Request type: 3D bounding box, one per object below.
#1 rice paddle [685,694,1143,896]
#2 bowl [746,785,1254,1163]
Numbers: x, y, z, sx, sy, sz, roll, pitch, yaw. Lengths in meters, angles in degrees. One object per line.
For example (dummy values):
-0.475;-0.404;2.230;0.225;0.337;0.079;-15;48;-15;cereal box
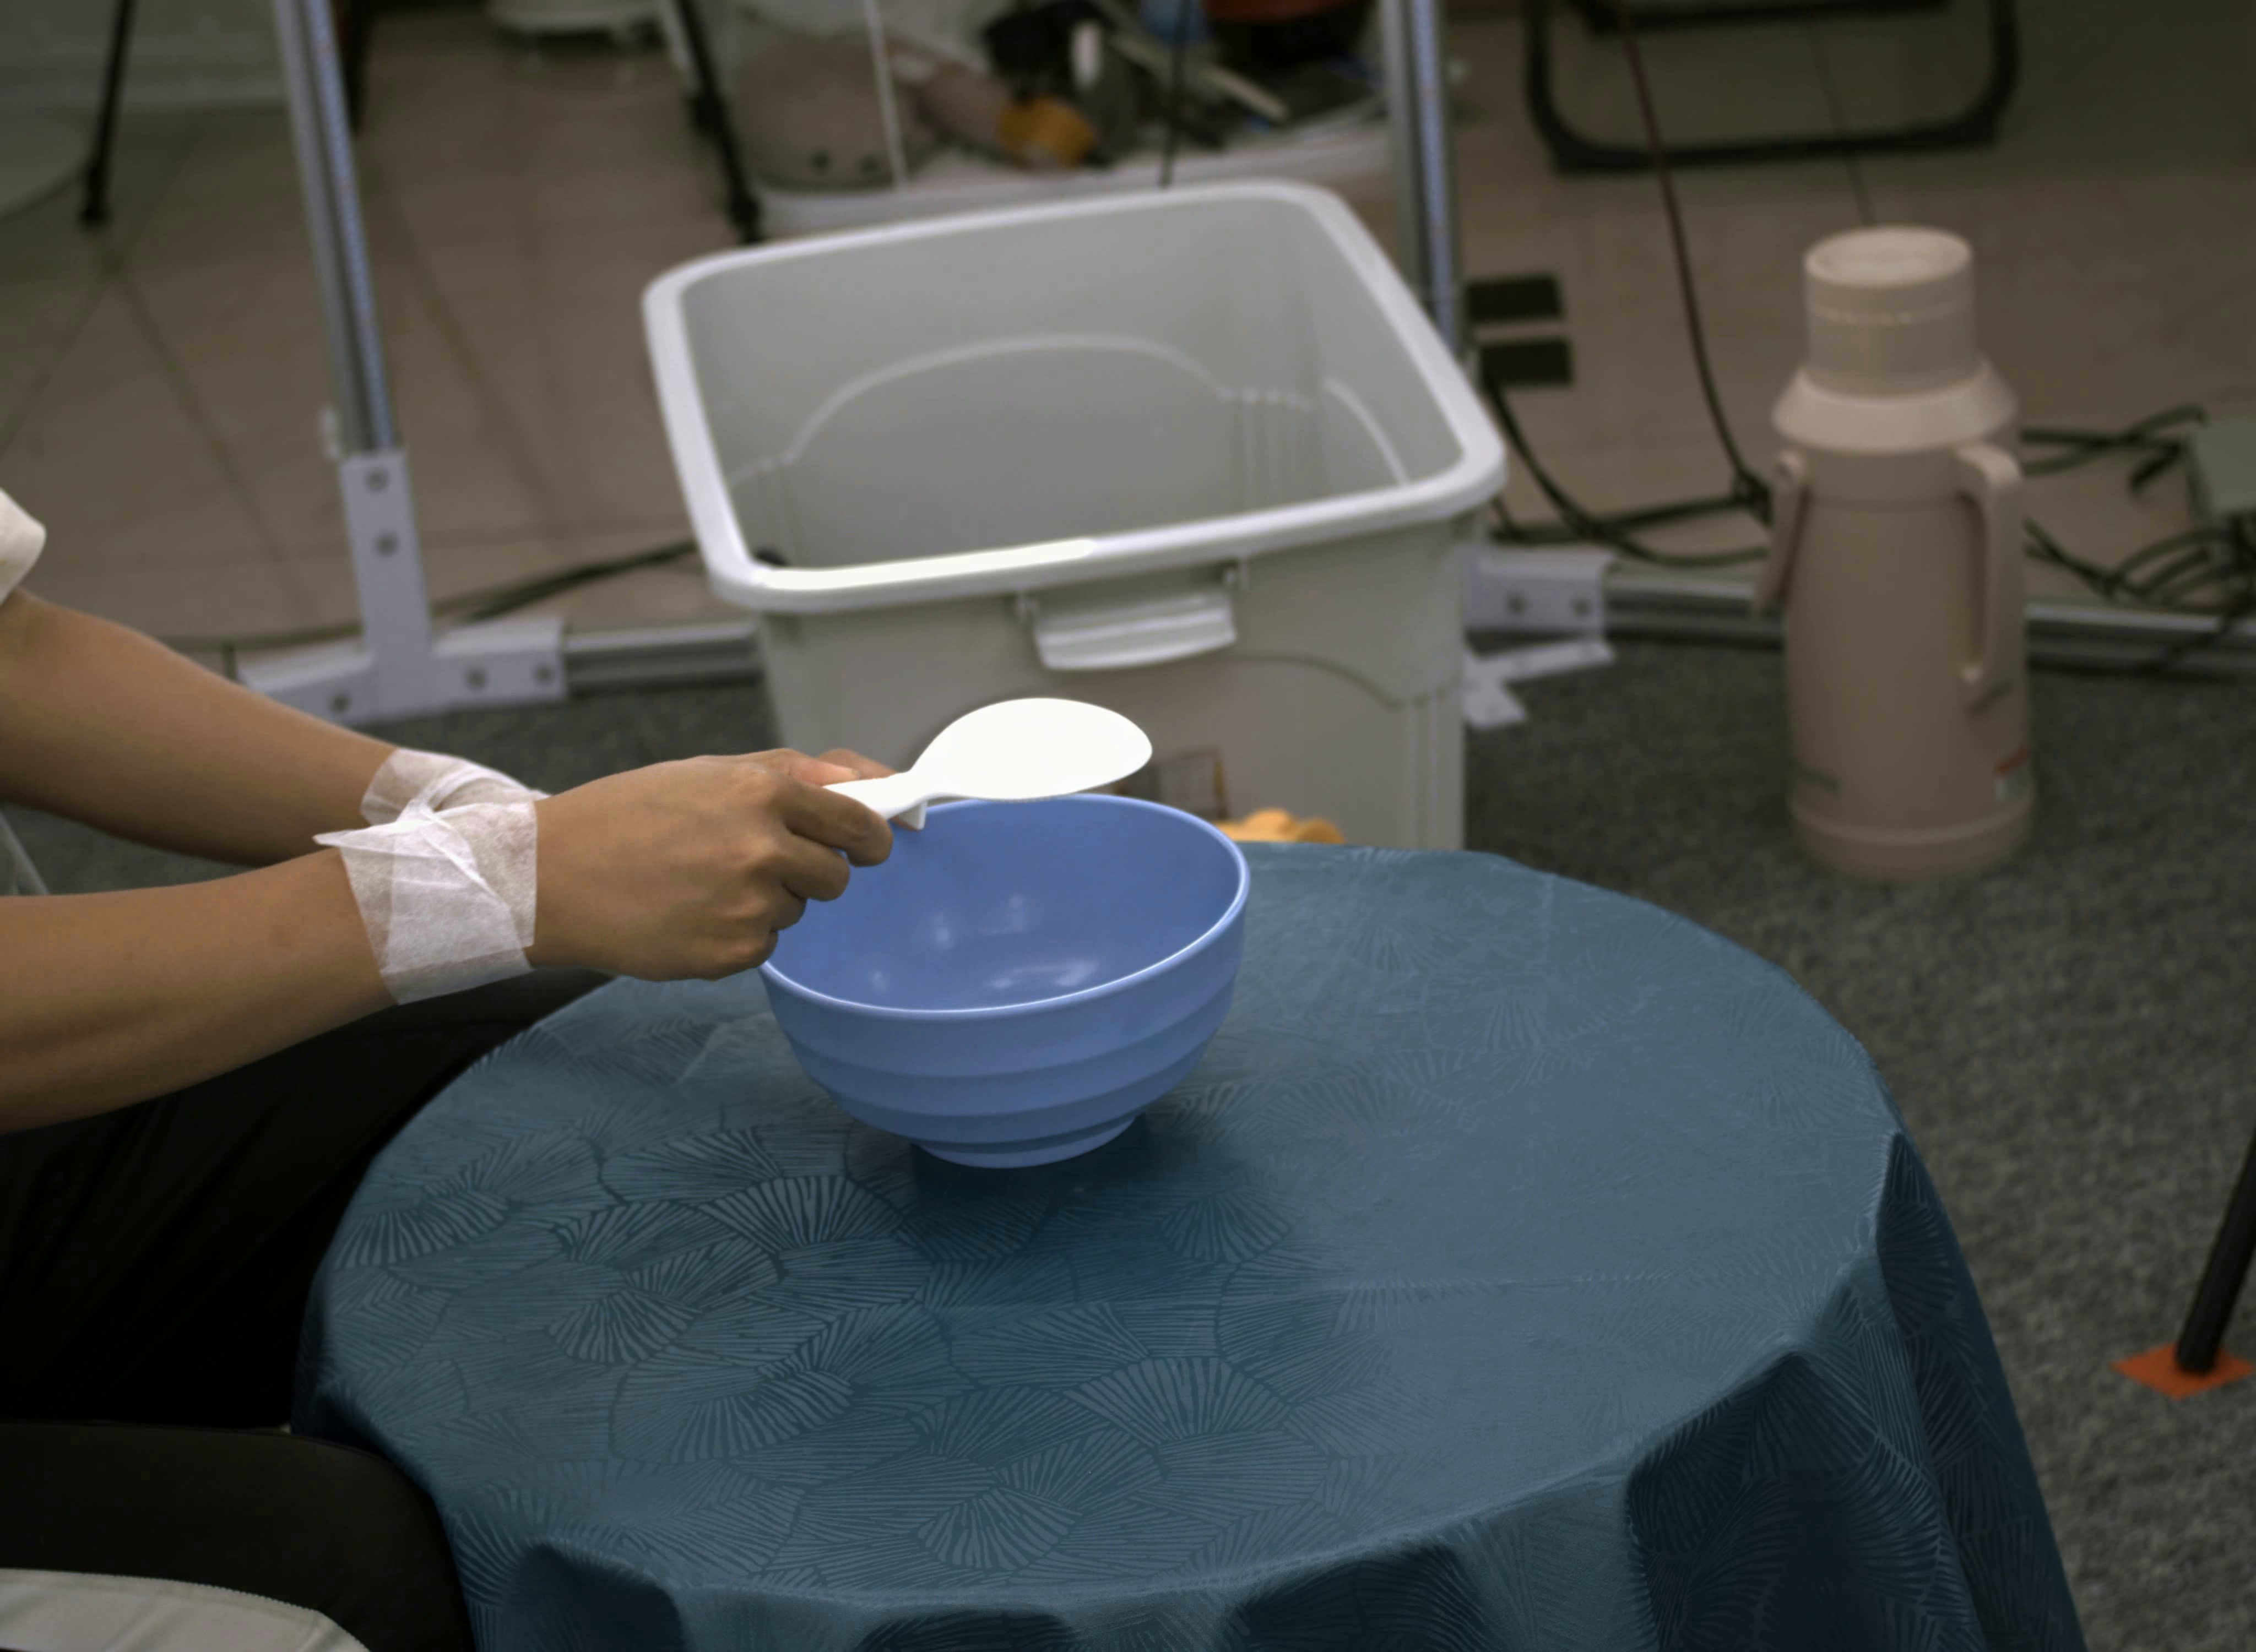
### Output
-0.075;-0.017;2.080;0.204;0.030;0.068;-20;40;-40;rice paddle
-0.046;0.068;2.198;0.196;0.097;0.193;-4;26;2;bowl
